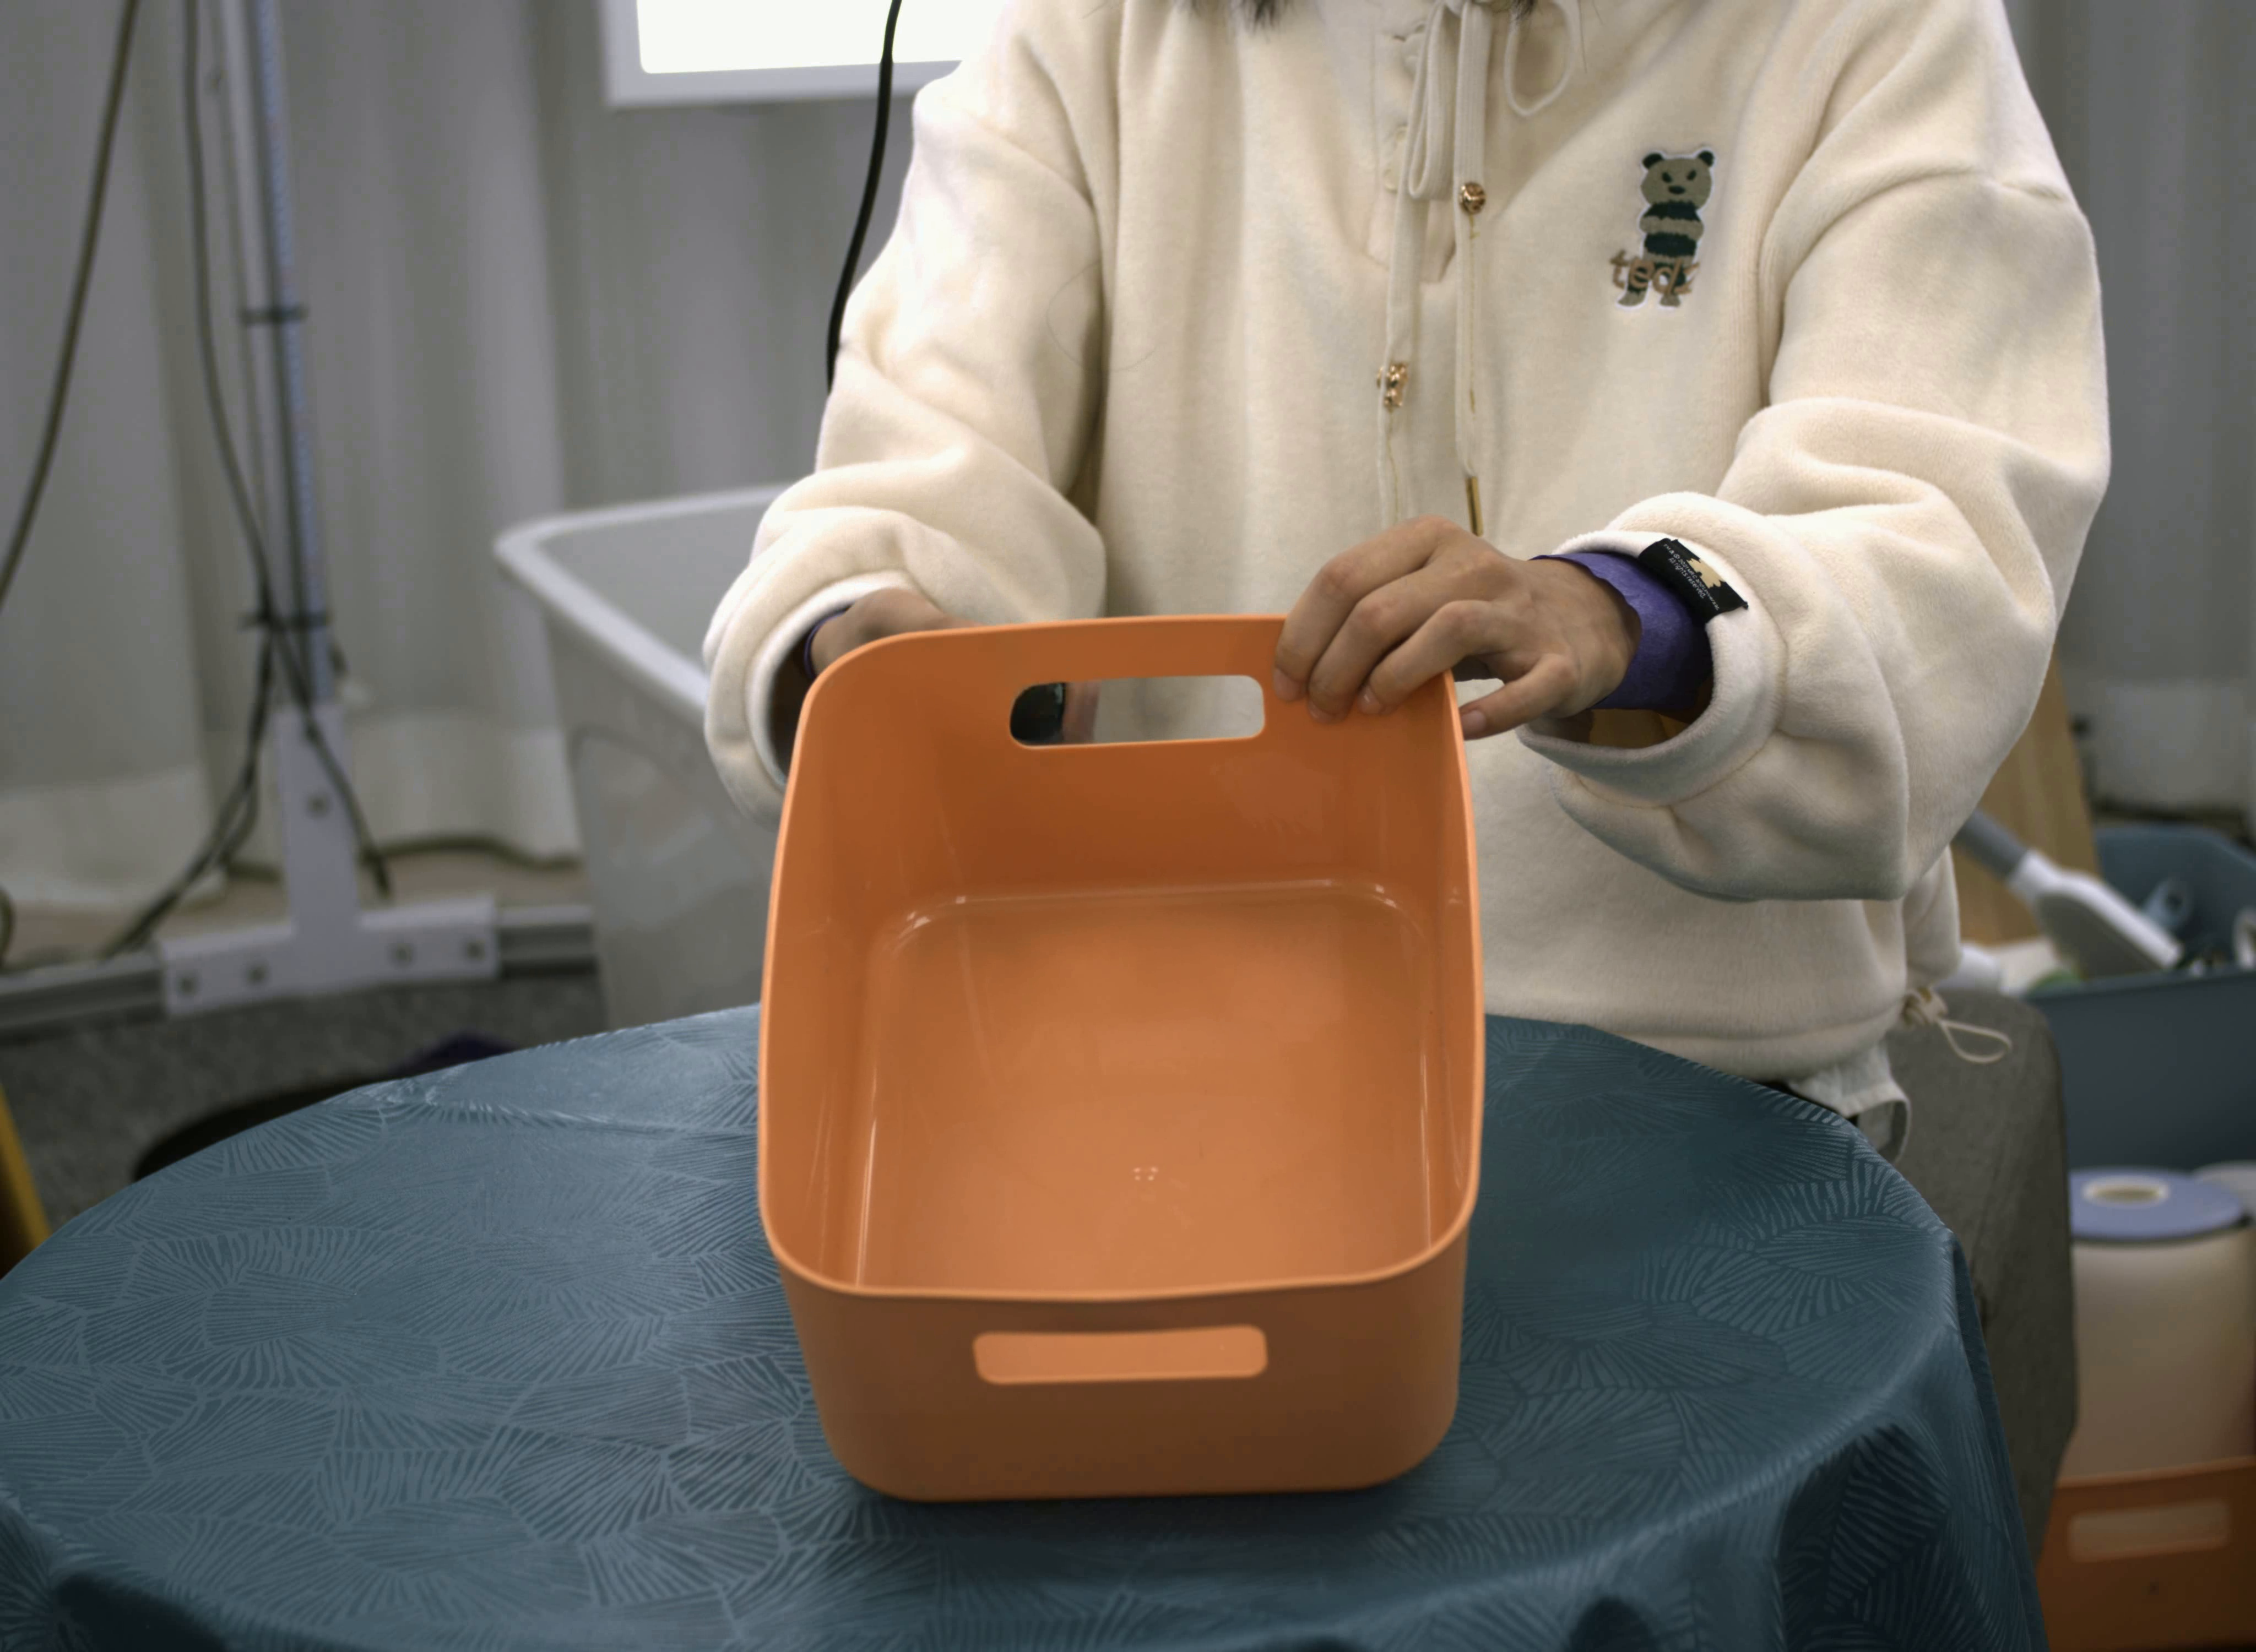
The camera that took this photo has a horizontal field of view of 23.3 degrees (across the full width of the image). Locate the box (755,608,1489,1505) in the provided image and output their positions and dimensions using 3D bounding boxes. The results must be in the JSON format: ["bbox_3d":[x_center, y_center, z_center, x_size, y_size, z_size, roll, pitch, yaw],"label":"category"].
[{"bbox_3d":[0.003,0.064,1.525,0.199,0.101,0.277,-3,41,4],"label":"box"}]

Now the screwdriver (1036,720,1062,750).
[{"bbox_3d":[-0.025,-0.038,1.692,0.031,0.031,0.197,-4,8,-7],"label":"screwdriver"}]
